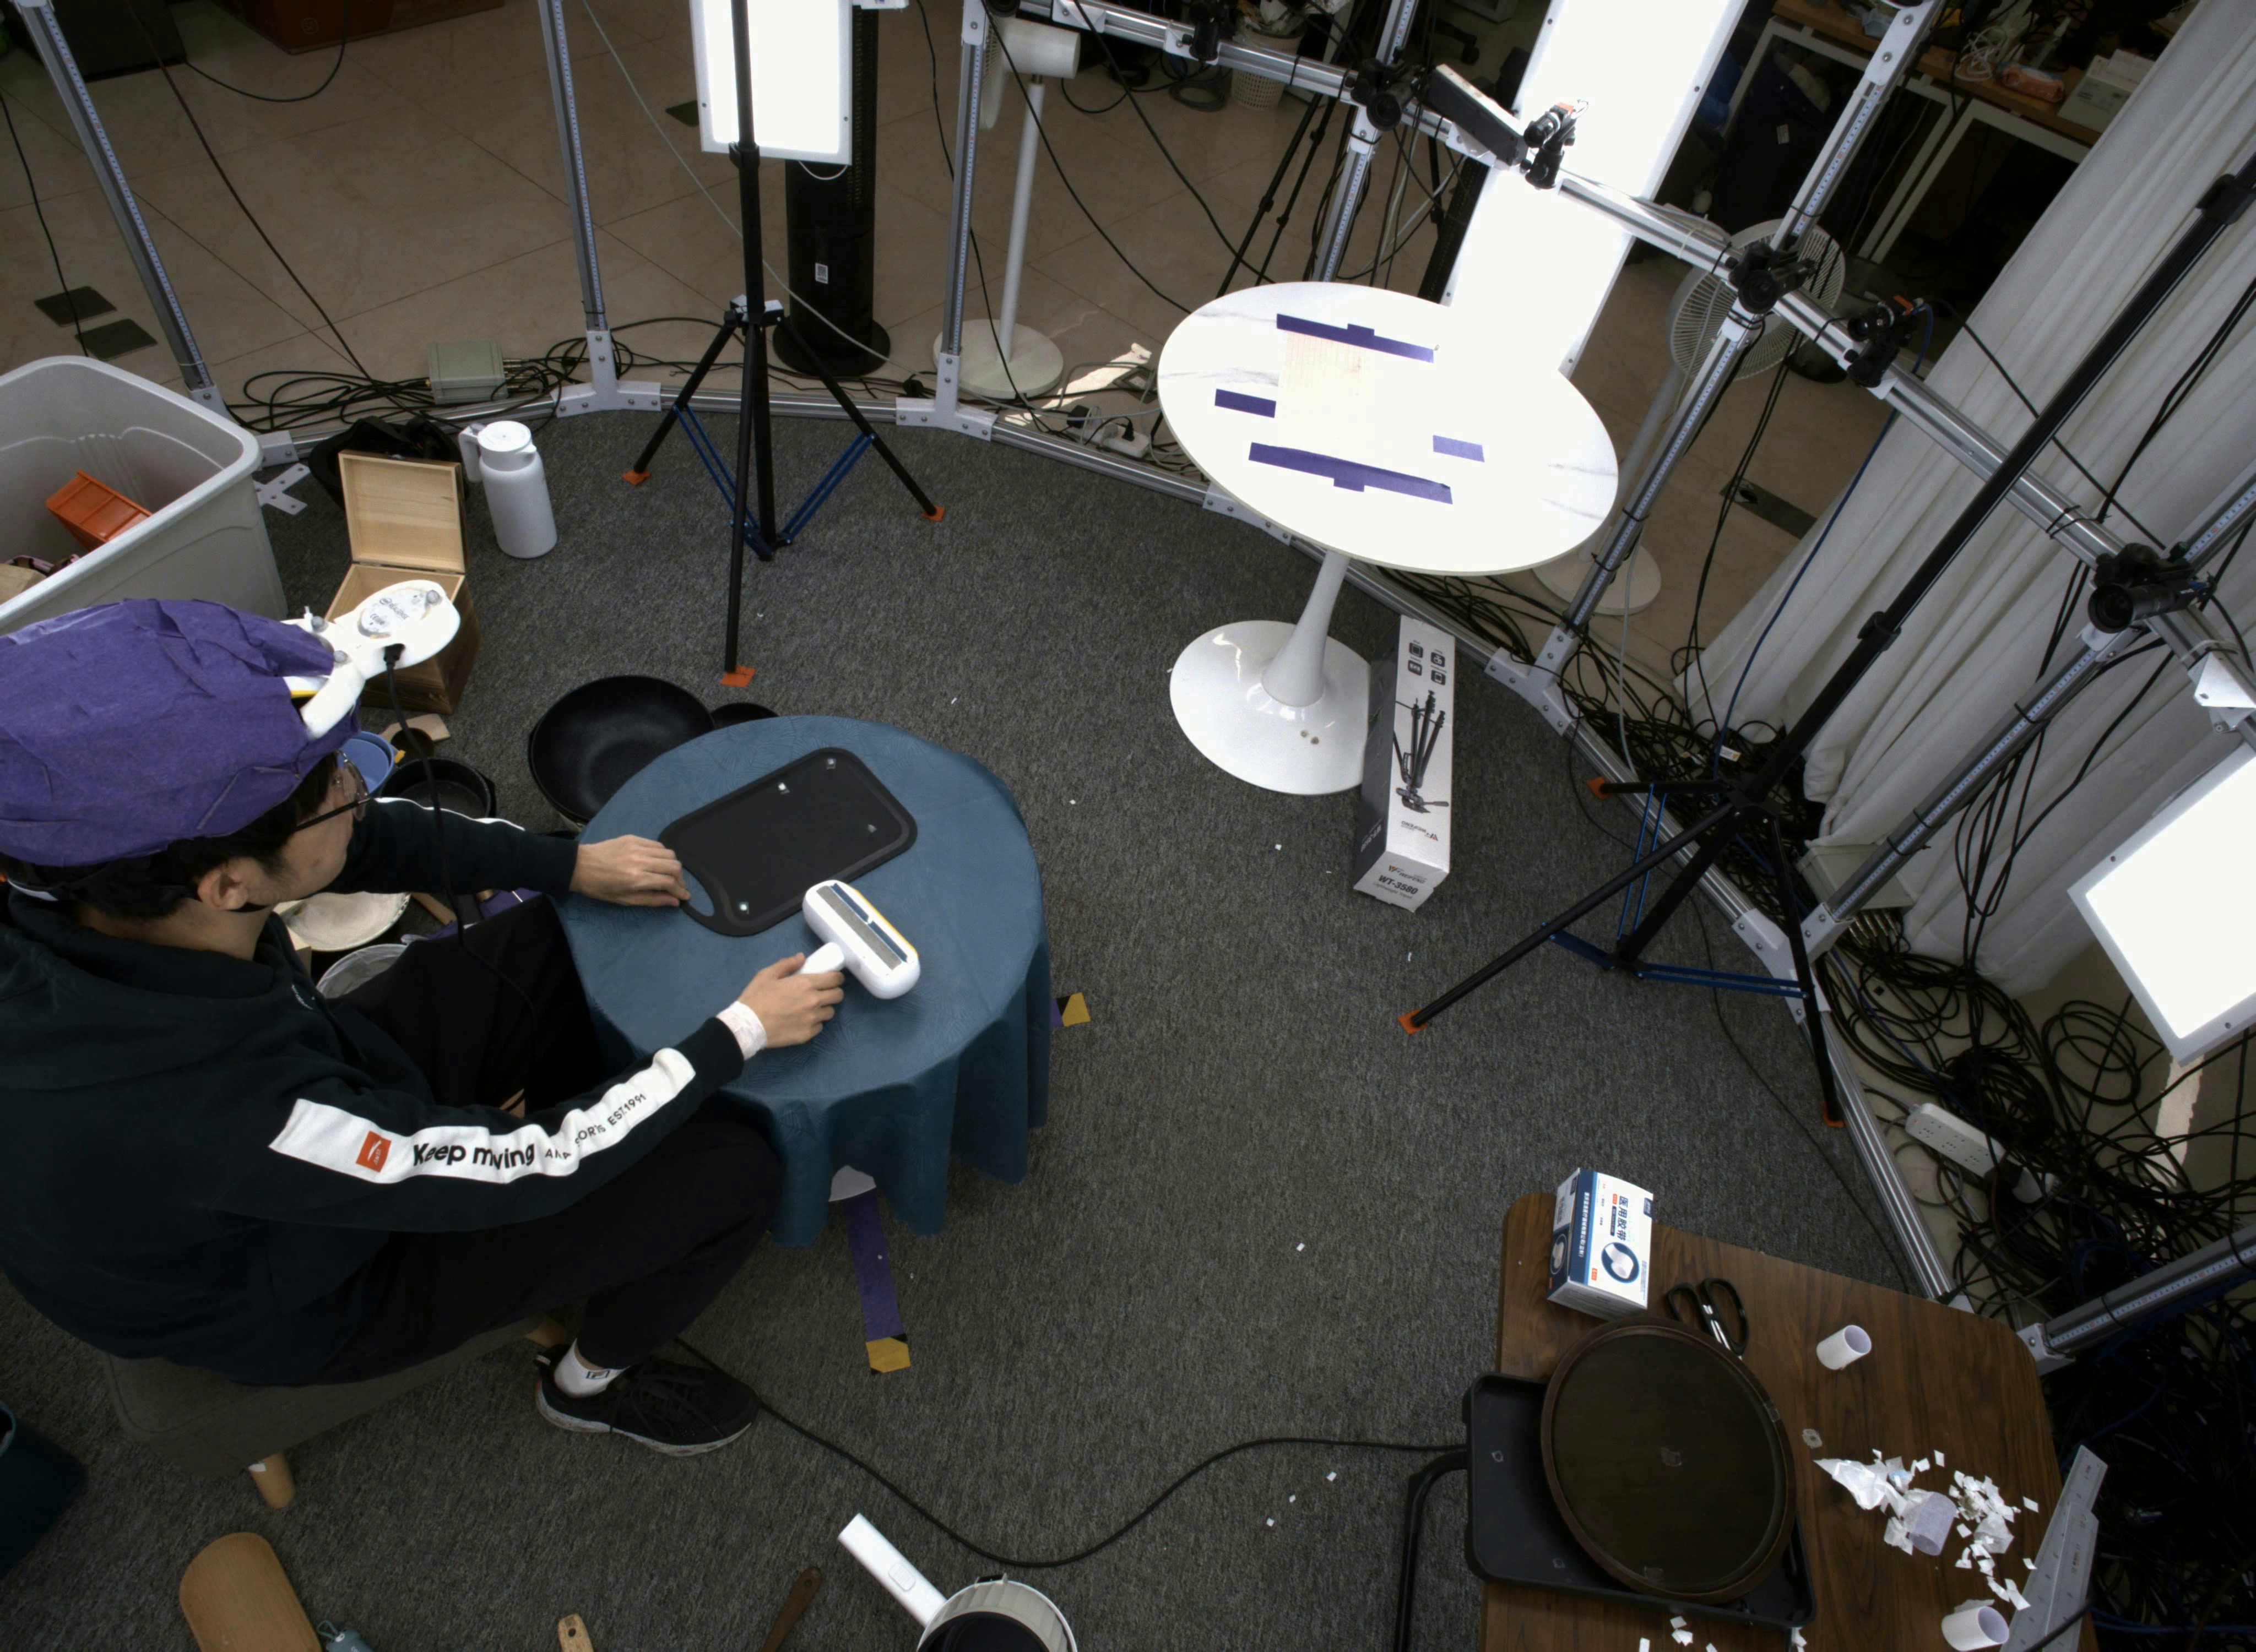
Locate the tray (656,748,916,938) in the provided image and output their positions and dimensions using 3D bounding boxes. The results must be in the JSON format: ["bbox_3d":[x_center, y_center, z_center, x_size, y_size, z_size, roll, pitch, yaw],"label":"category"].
[{"bbox_3d":[-0.453,0.017,1.705,0.326,0.010,0.206,-32,67,-32],"label":"tray"}]

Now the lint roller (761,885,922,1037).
[{"bbox_3d":[-0.370,0.180,1.591,0.192,0.076,0.187,-34,60,-16],"label":"lint roller"}]
